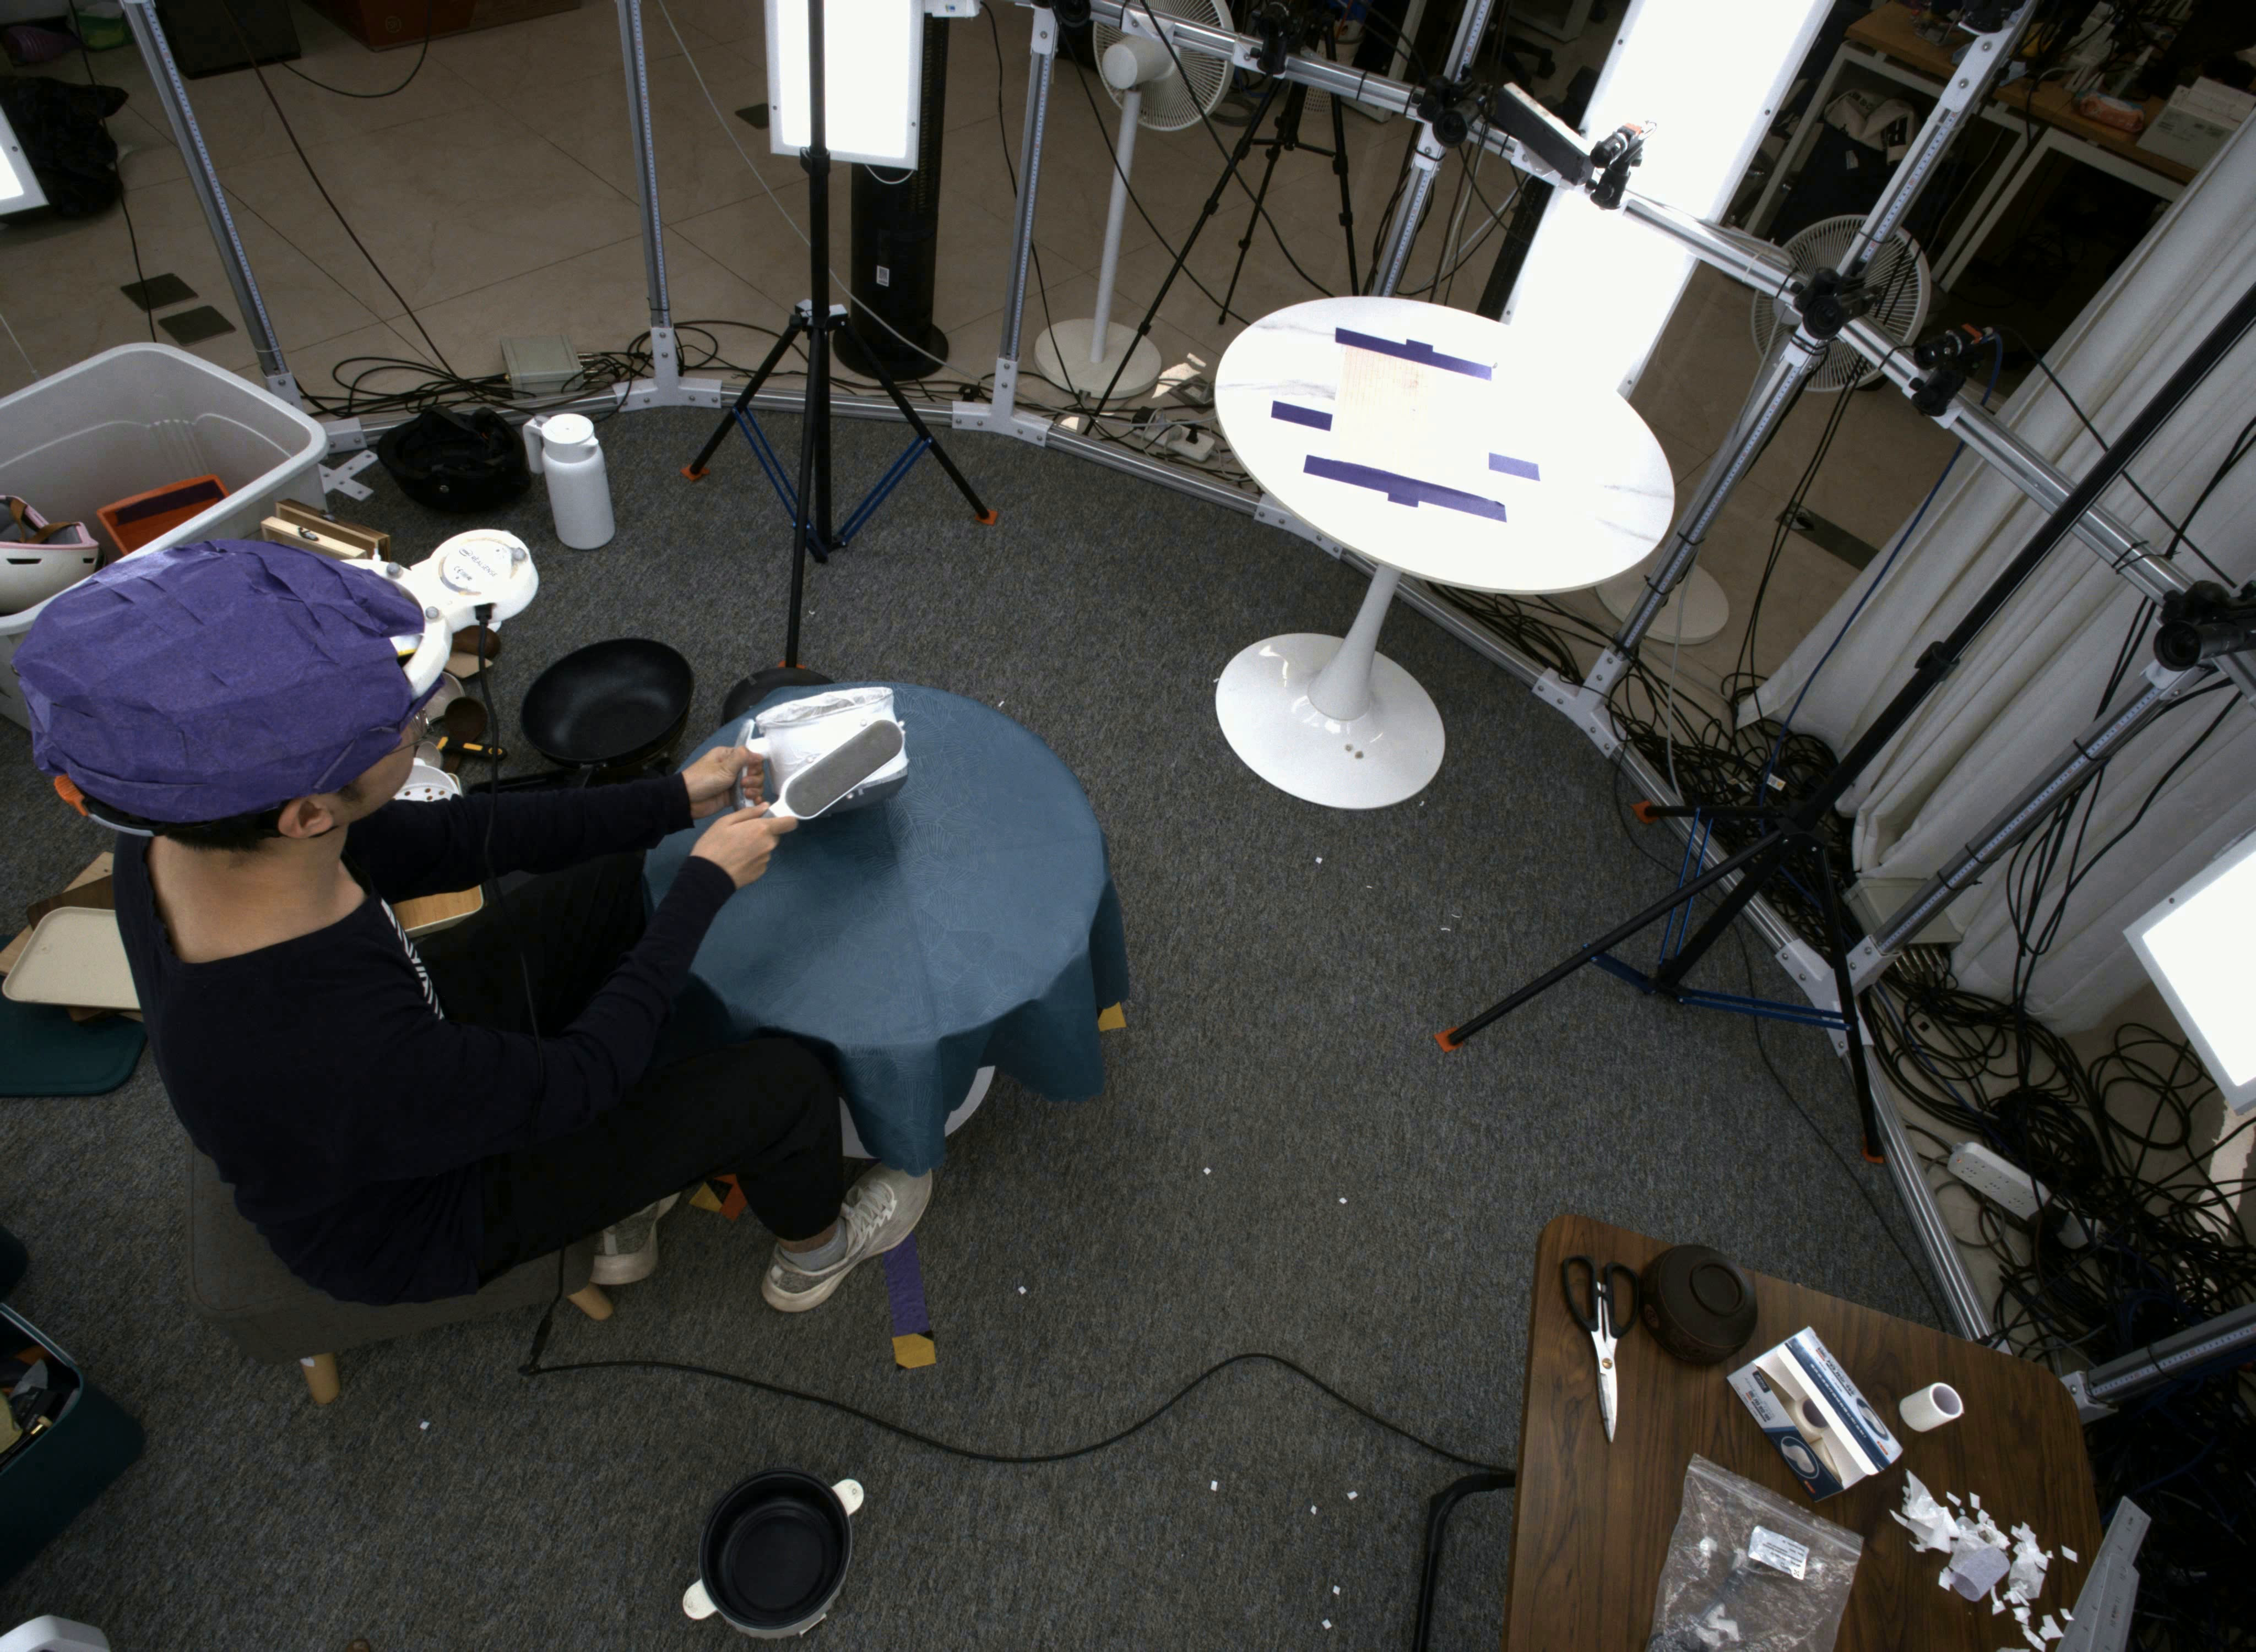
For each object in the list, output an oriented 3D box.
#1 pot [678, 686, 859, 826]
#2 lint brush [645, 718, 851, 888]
[{"bbox_3d":[-0.465,-0.086,1.649,0.235,0.140,0.173,-21,16,-31],"label":"pot"},{"bbox_3d":[-0.450,-0.030,1.539,0.020,0.062,0.309,8,43,50],"label":"lint brush"}]
